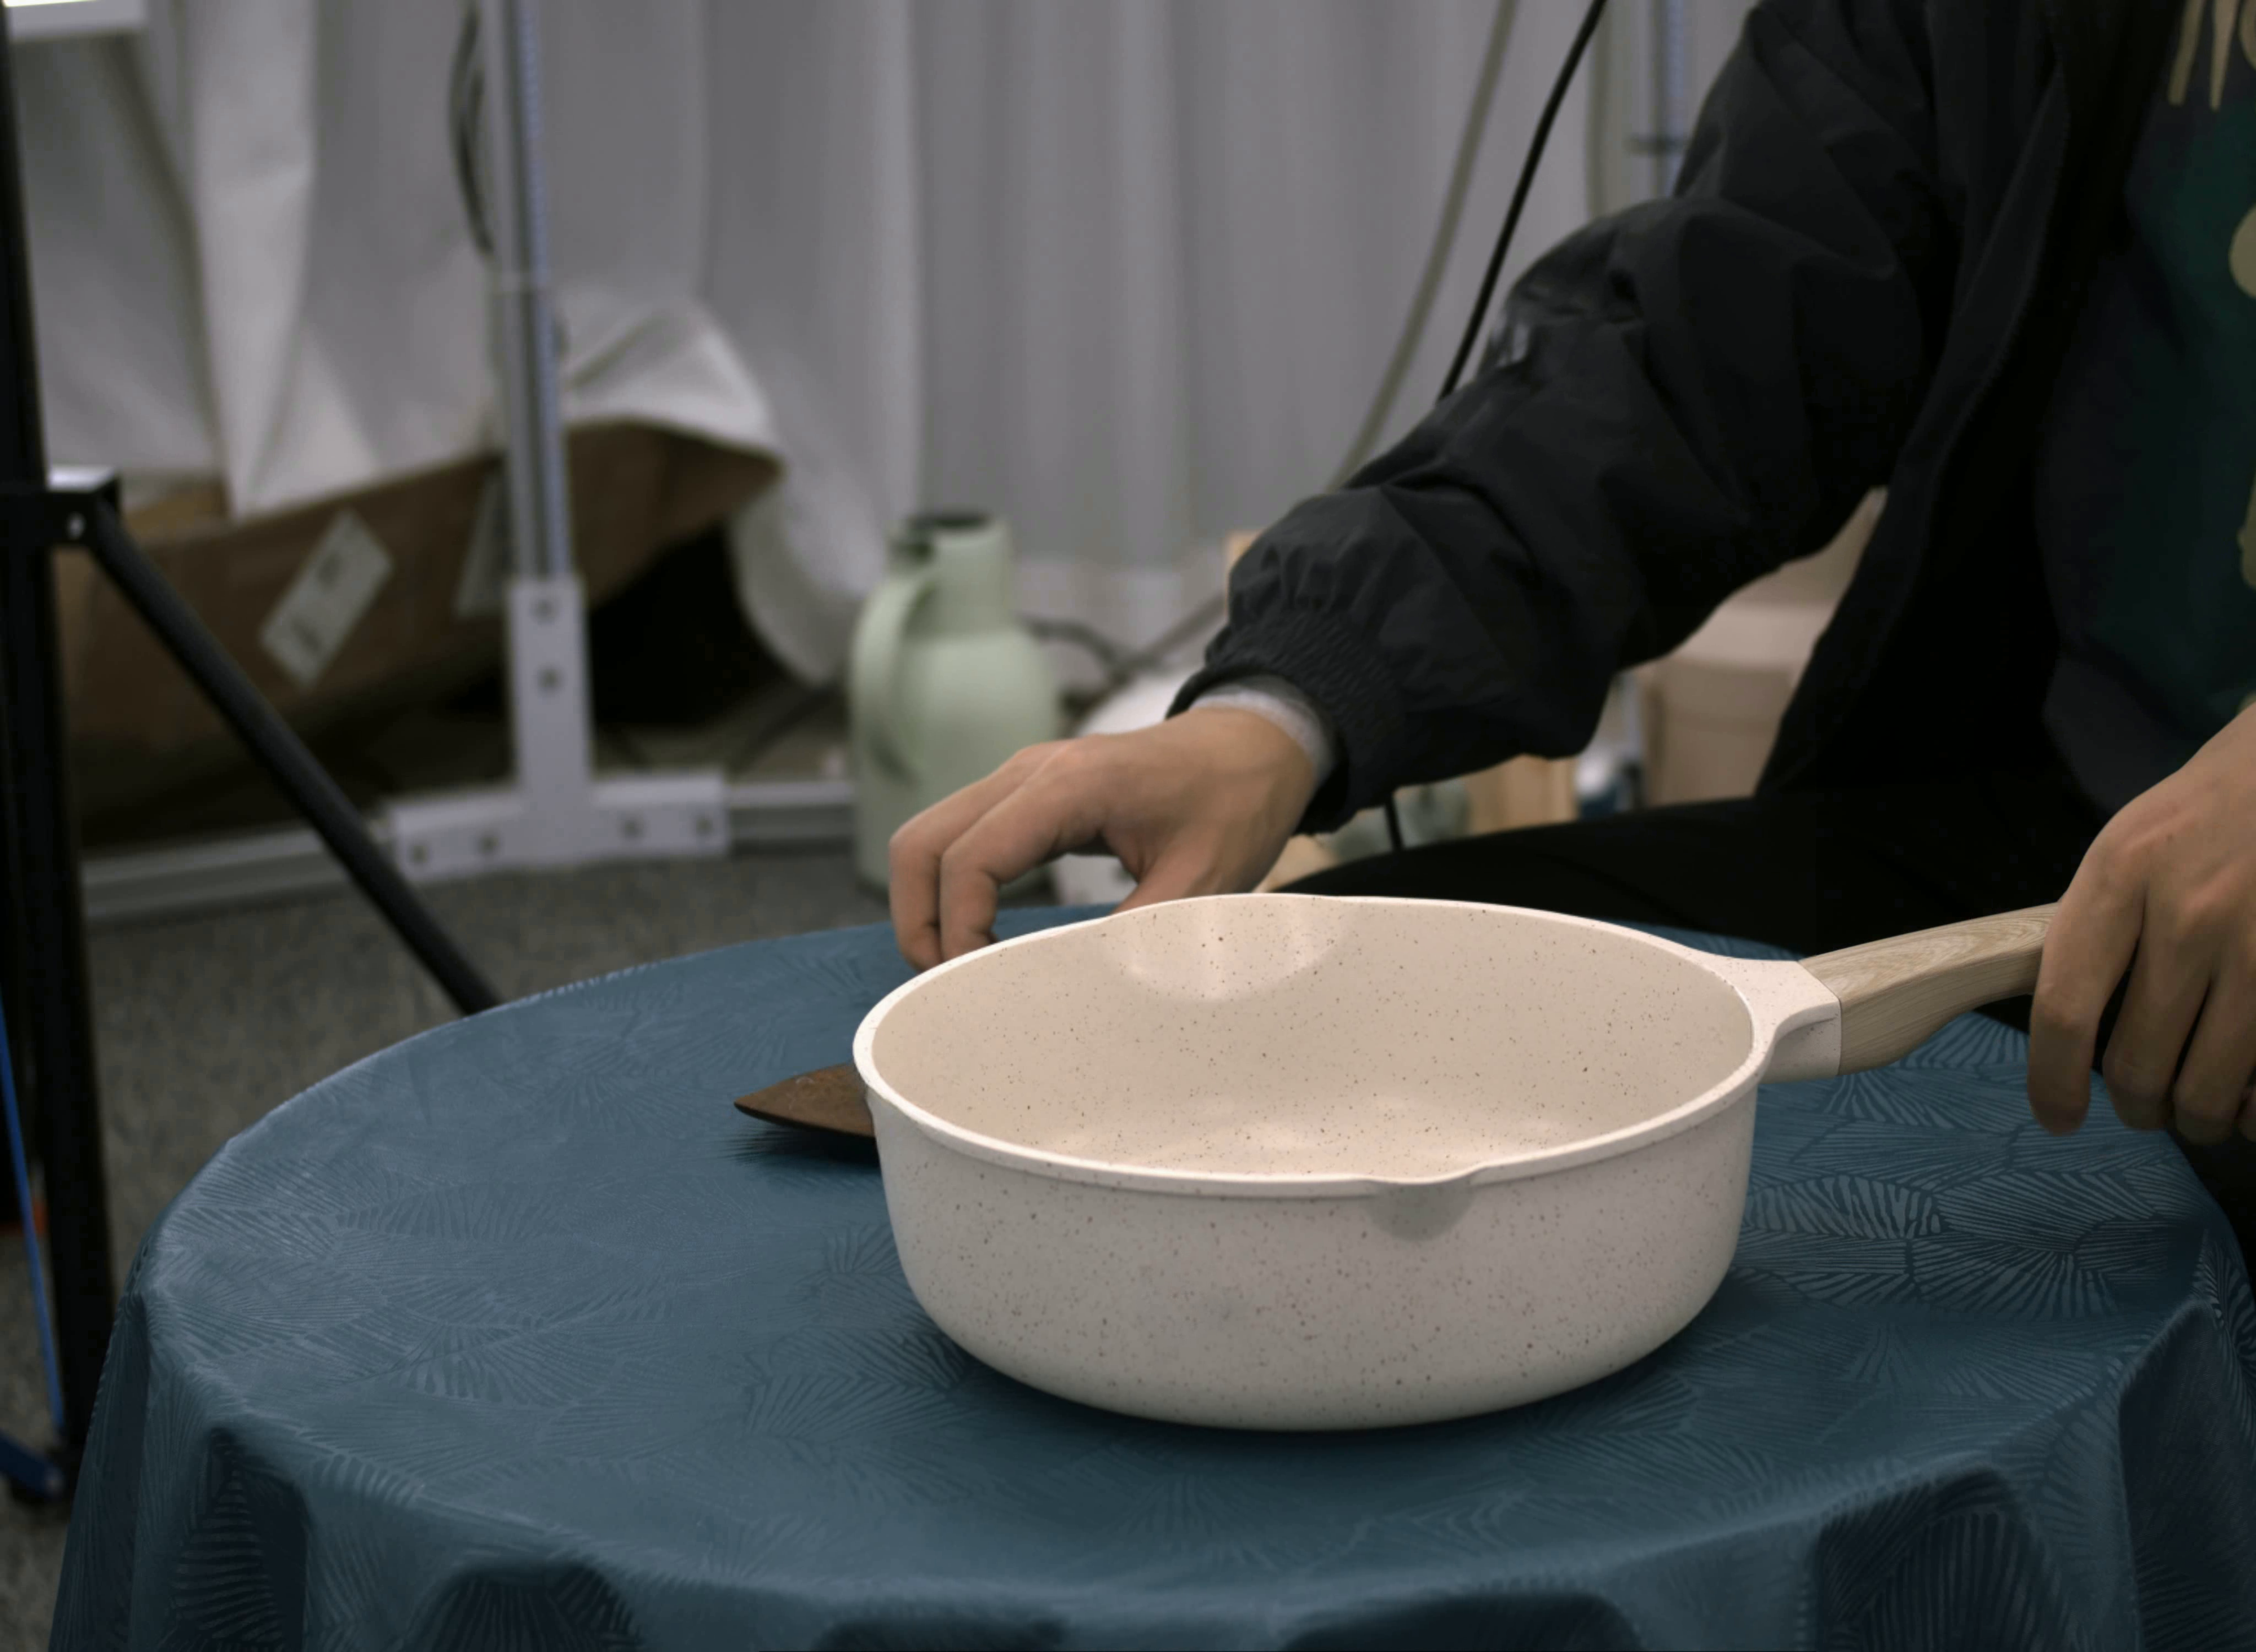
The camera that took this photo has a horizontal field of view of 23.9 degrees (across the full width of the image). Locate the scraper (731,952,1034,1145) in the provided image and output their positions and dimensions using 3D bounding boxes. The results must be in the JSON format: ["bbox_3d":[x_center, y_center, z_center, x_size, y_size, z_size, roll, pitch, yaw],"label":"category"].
[{"bbox_3d":[-0.052,0.069,1.687,0.077,0.011,0.208,9,17,20],"label":"scraper"}]

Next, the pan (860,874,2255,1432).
[{"bbox_3d":[0.143,0.079,1.459,0.429,0.102,0.266,-5,14,-9],"label":"pan"}]
